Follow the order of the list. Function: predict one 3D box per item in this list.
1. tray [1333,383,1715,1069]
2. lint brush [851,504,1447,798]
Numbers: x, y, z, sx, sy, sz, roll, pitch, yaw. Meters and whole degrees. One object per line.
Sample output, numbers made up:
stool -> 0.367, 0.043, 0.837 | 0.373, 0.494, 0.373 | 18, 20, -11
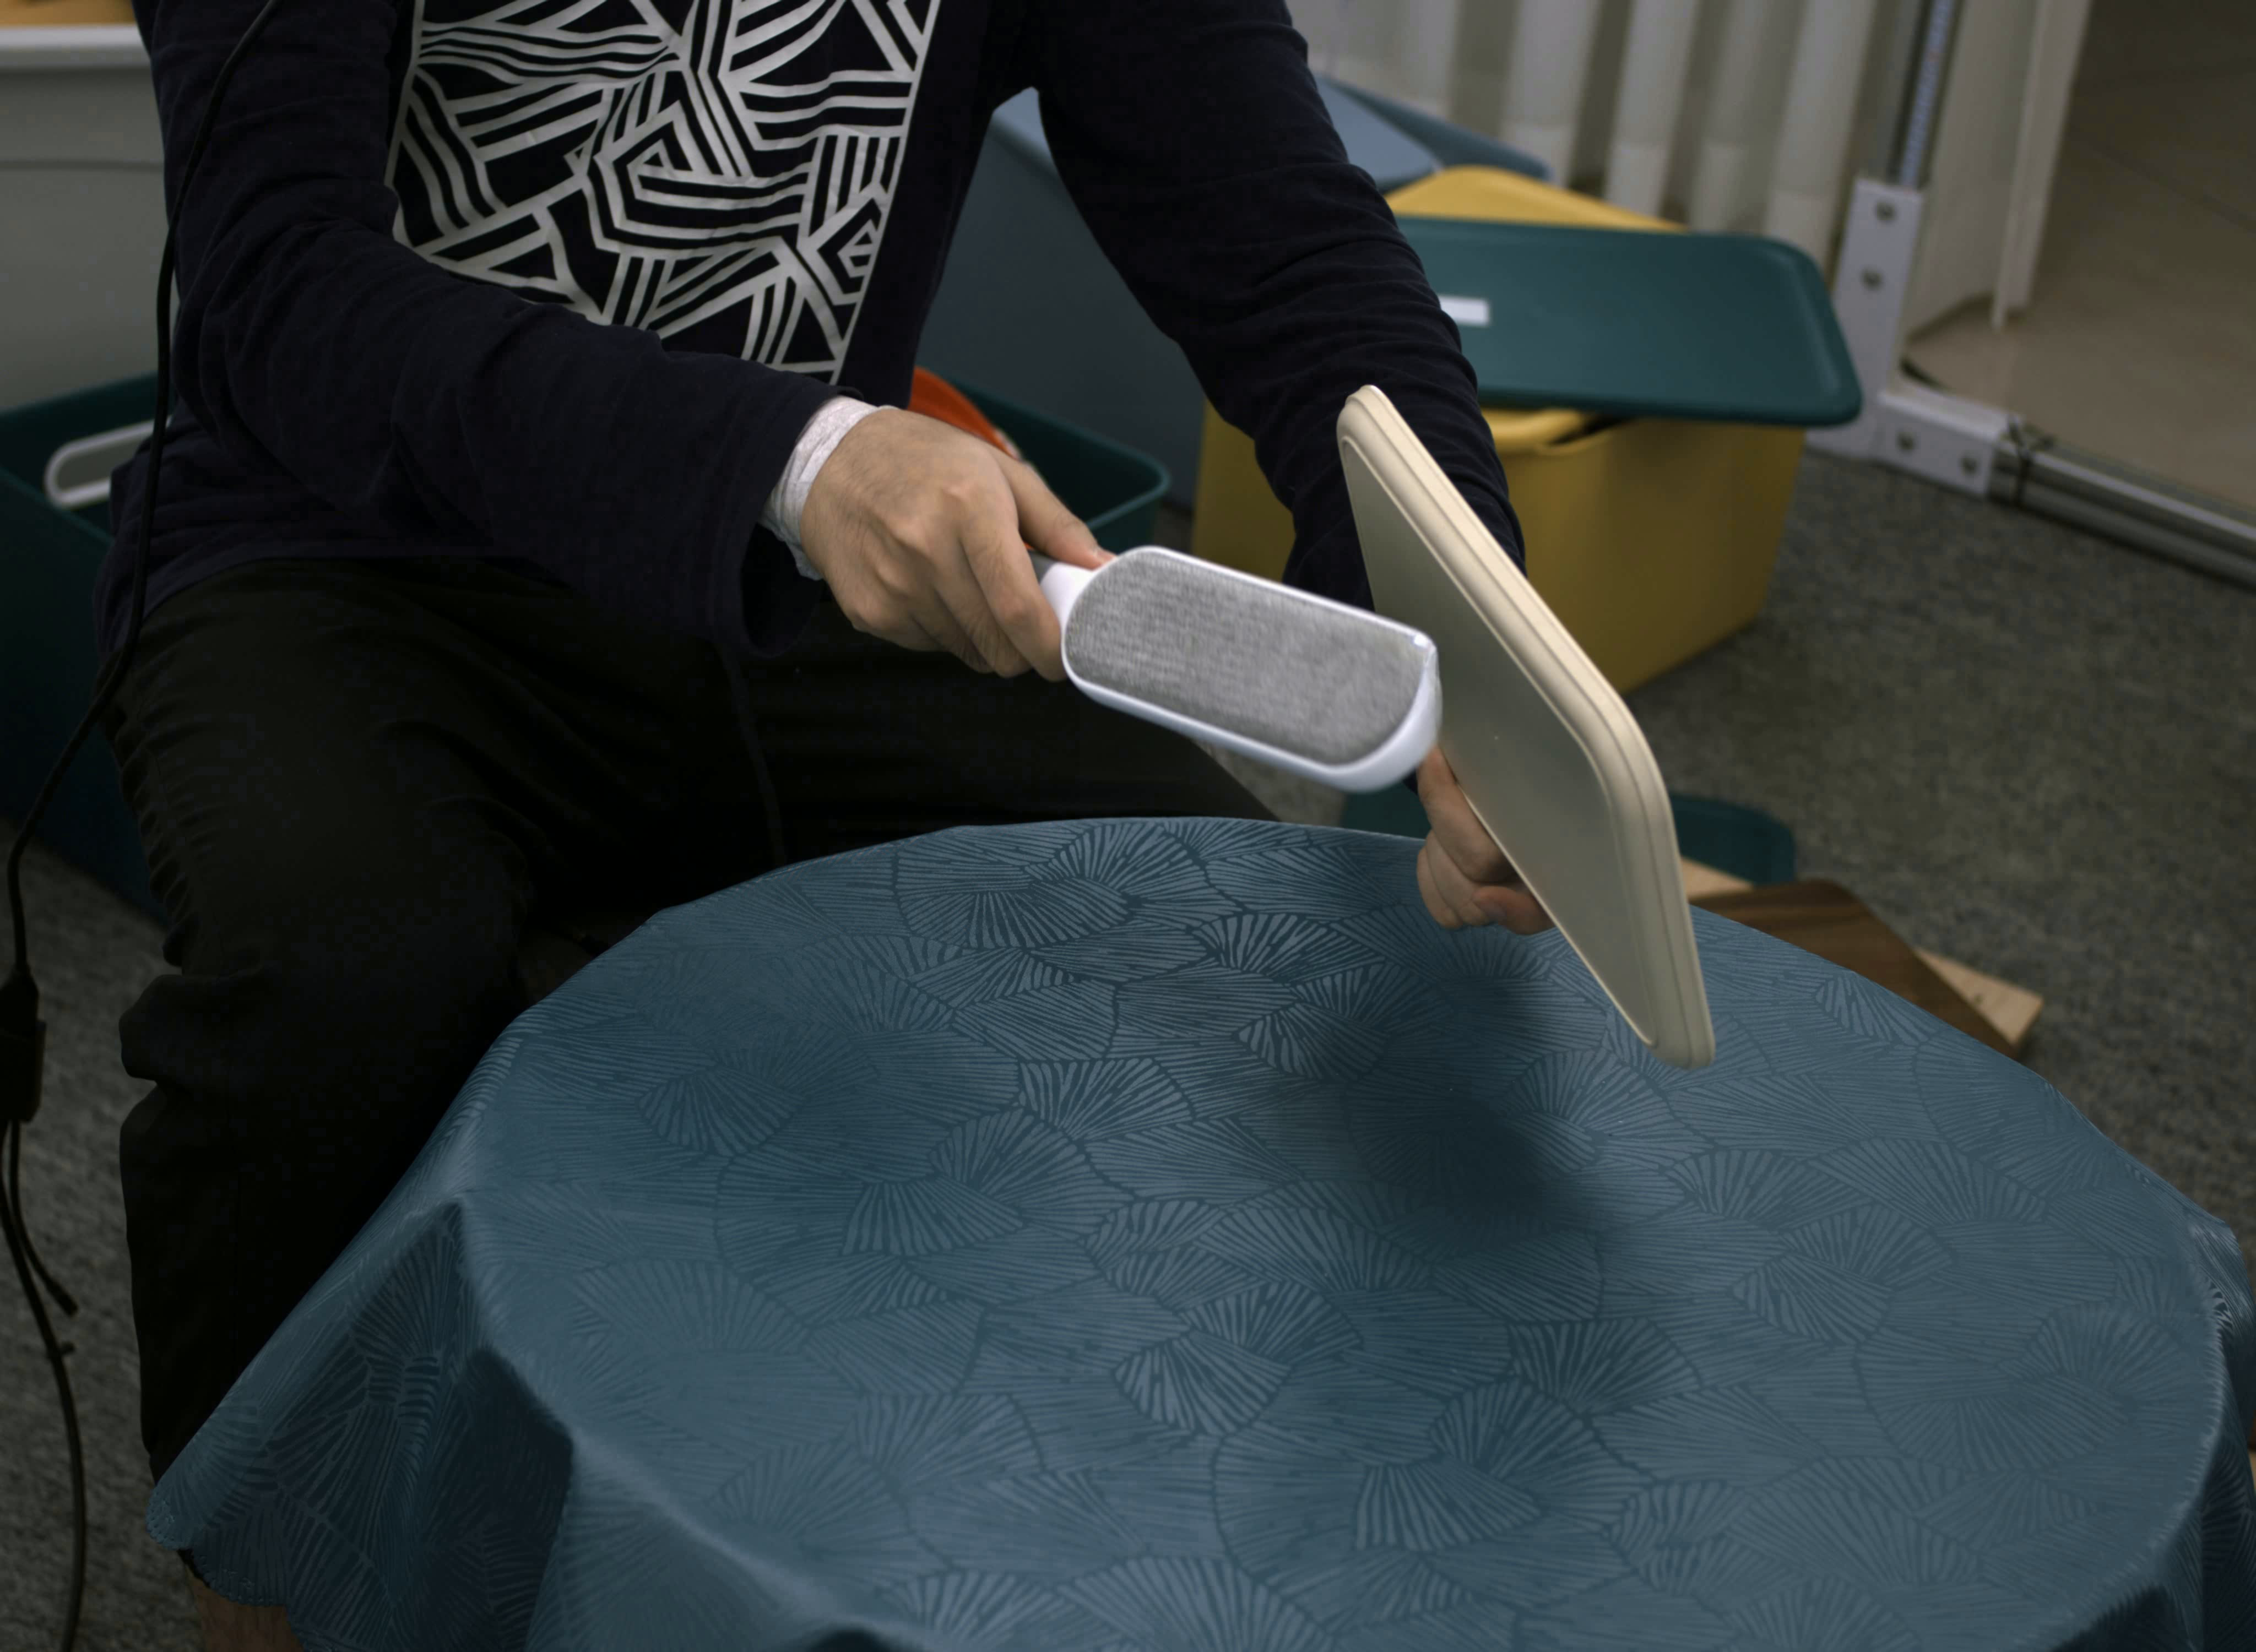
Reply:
tray -> 0.132, -0.034, 1.826 | 0.017, 0.170, 0.242 | -24, 44, -8
lint brush -> 0.001, -0.068, 1.797 | 0.021, 0.060, 0.311 | 28, -4, -41
